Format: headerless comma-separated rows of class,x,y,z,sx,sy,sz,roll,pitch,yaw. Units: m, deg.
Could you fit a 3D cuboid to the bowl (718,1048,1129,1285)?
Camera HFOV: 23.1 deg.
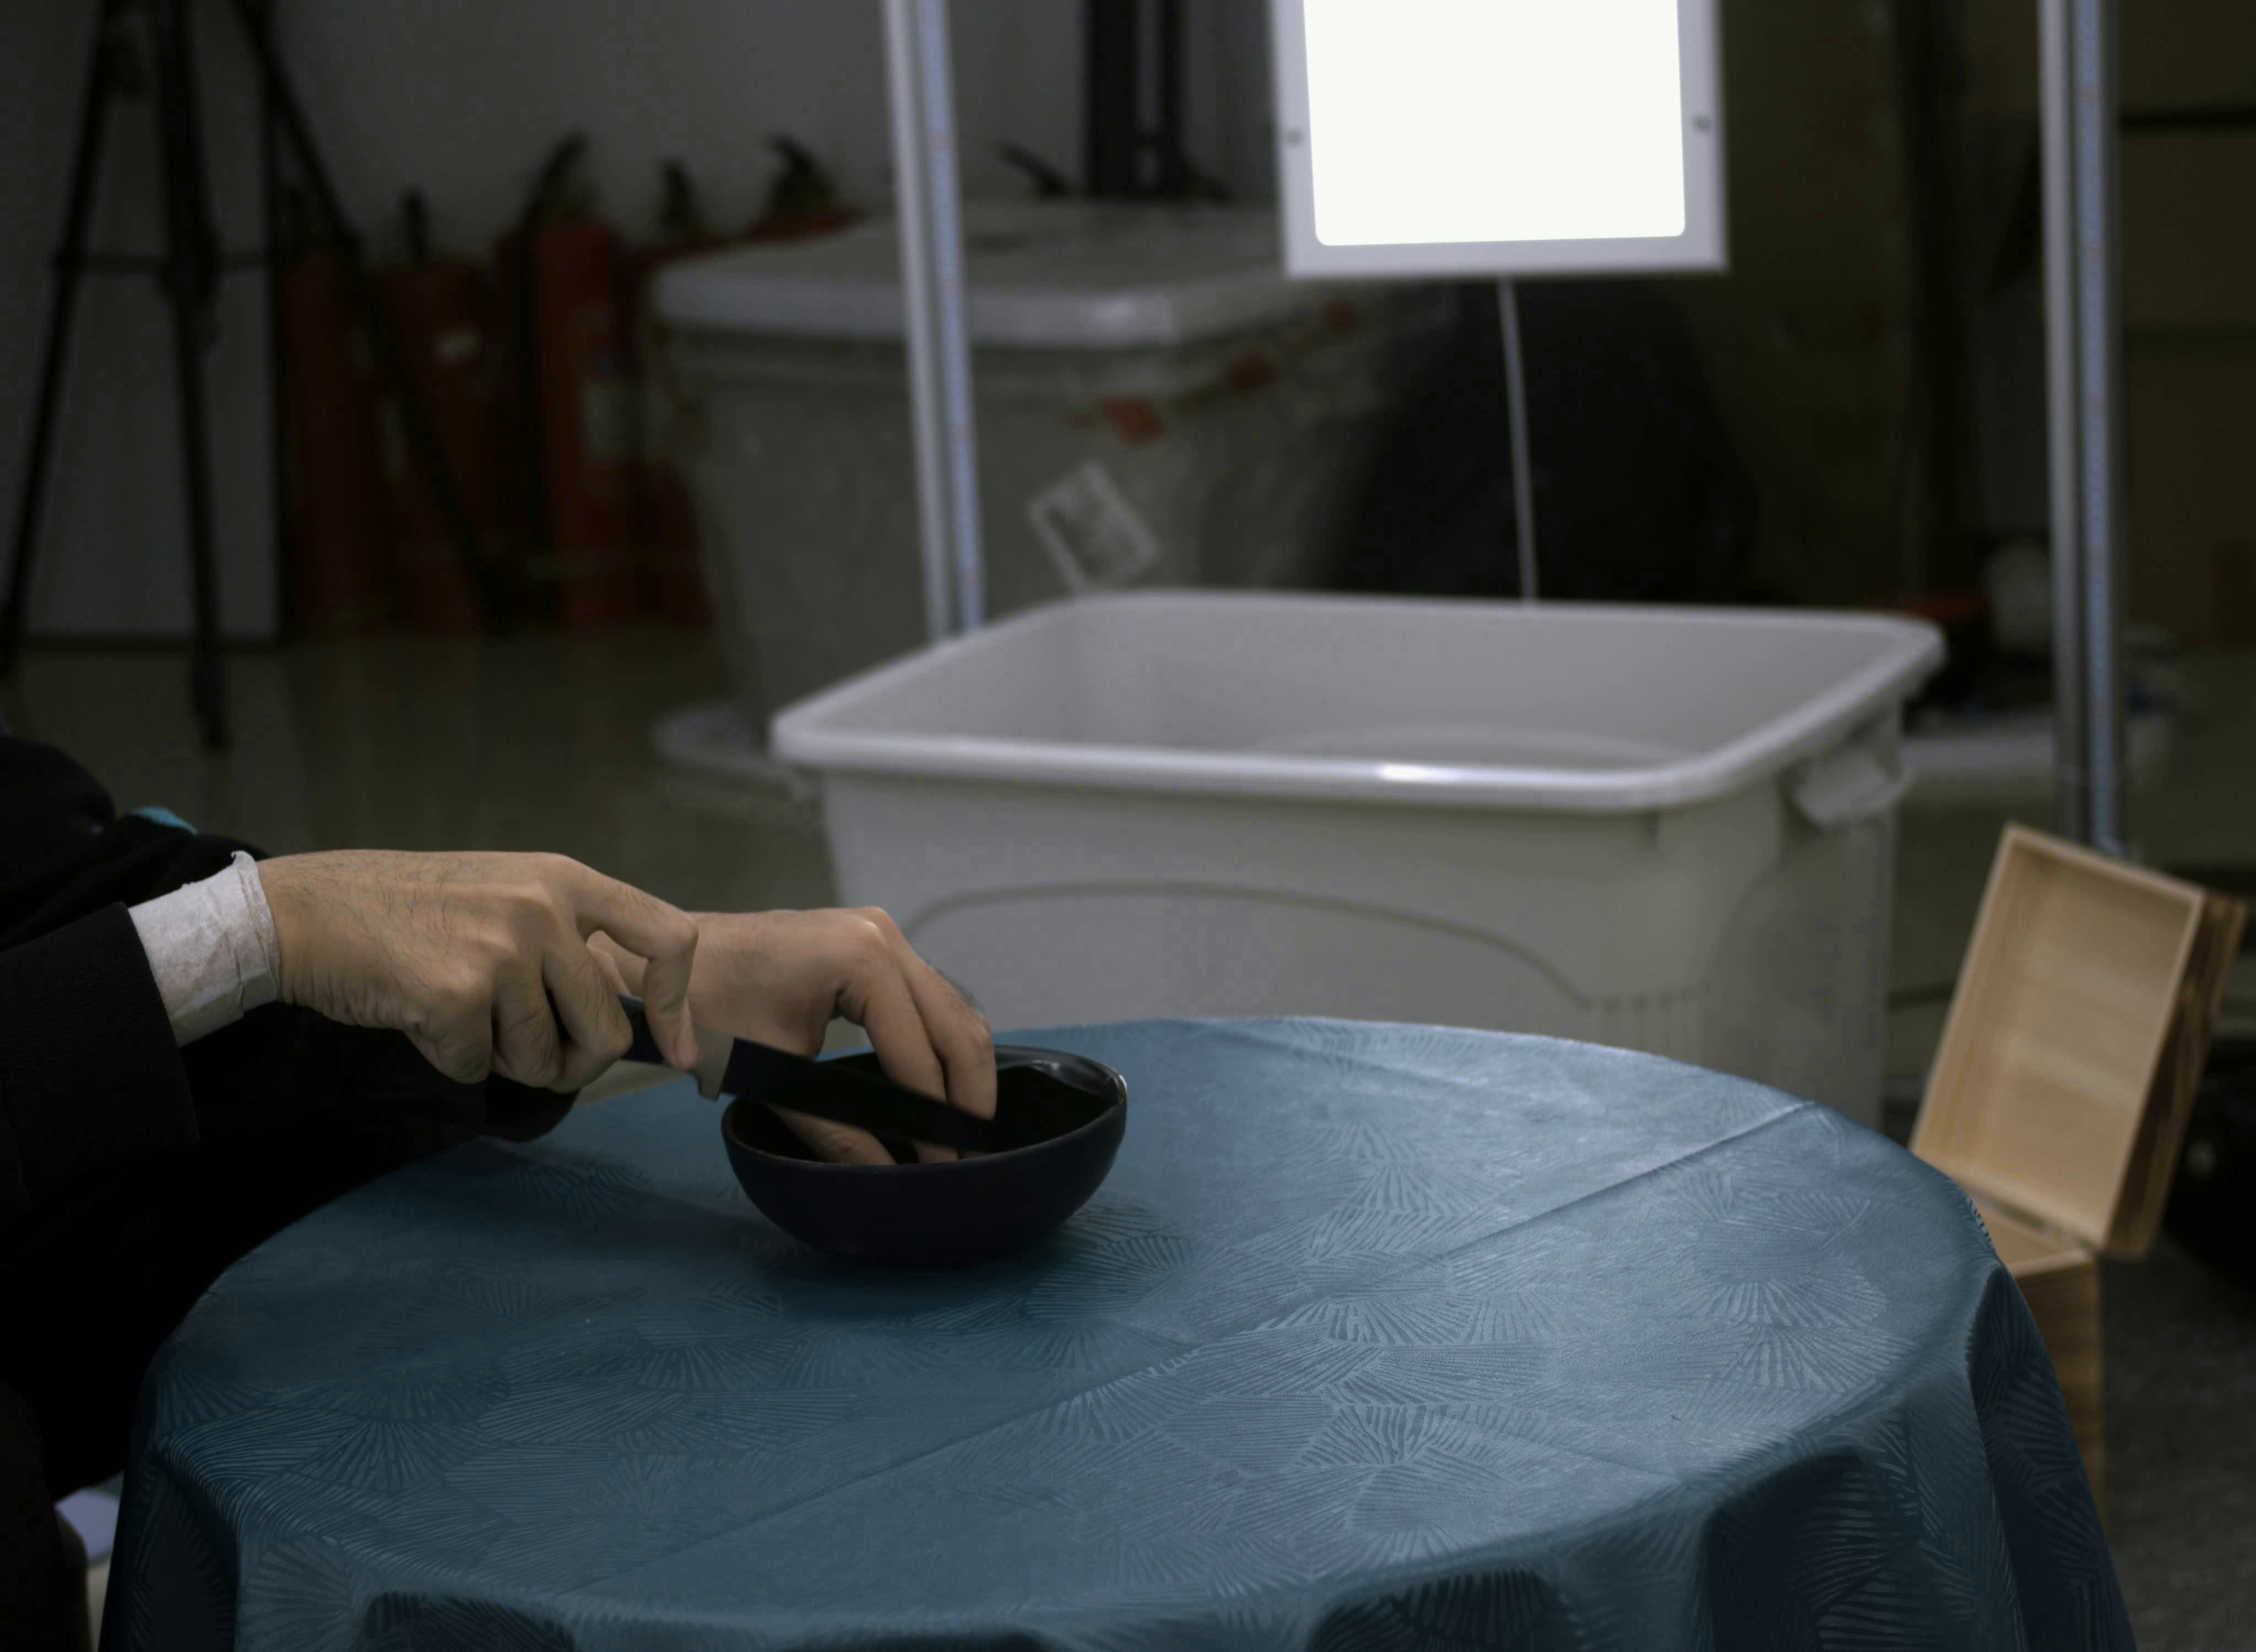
bowl,-0.066,0.119,1.859,0.140,0.050,0.140,-9,14,1

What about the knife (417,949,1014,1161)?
knife,-0.130,0.080,1.830,0.223,0.026,0.017,17,22,-10
